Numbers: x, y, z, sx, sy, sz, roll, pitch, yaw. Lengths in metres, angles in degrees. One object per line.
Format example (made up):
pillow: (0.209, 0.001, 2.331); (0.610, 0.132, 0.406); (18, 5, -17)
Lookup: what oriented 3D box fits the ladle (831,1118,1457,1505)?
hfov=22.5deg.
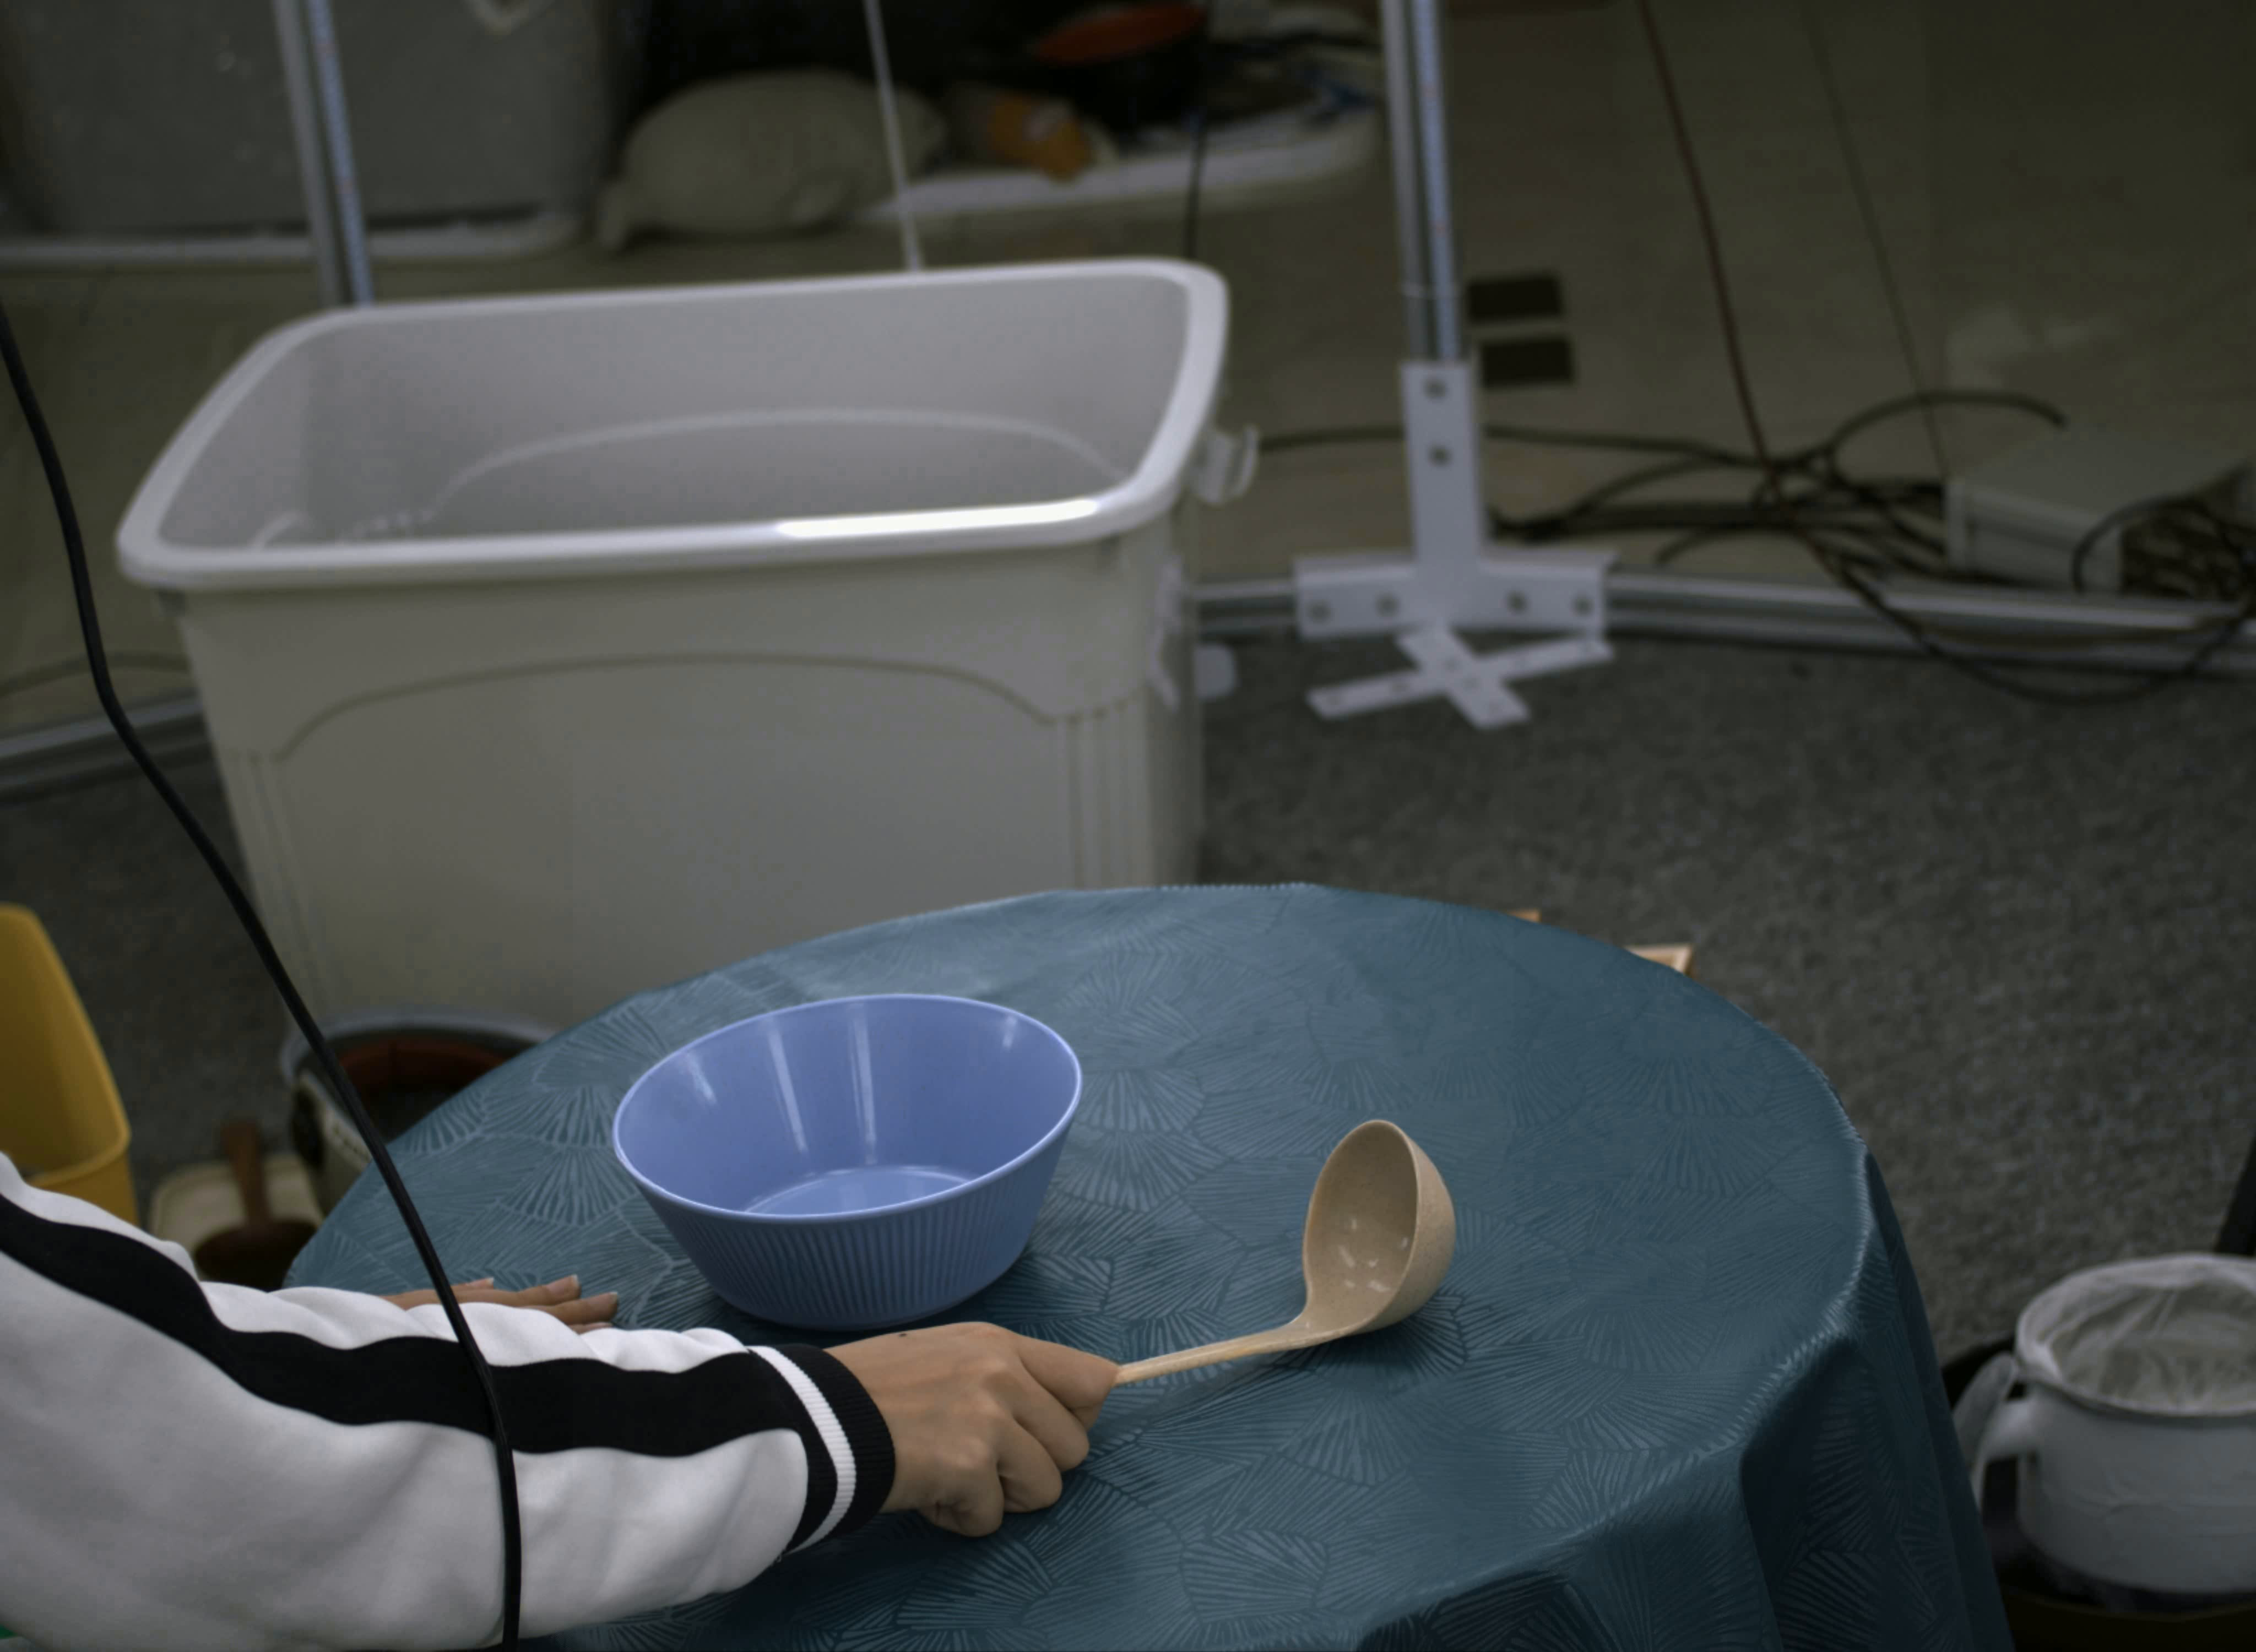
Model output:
ladle: (0.002, 0.166, 1.983); (0.253, 0.073, 0.072); (-15, 15, -29)

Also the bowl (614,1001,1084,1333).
bowl: (-0.100, 0.132, 2.105); (0.176, 0.071, 0.173); (-6, 24, 3)
